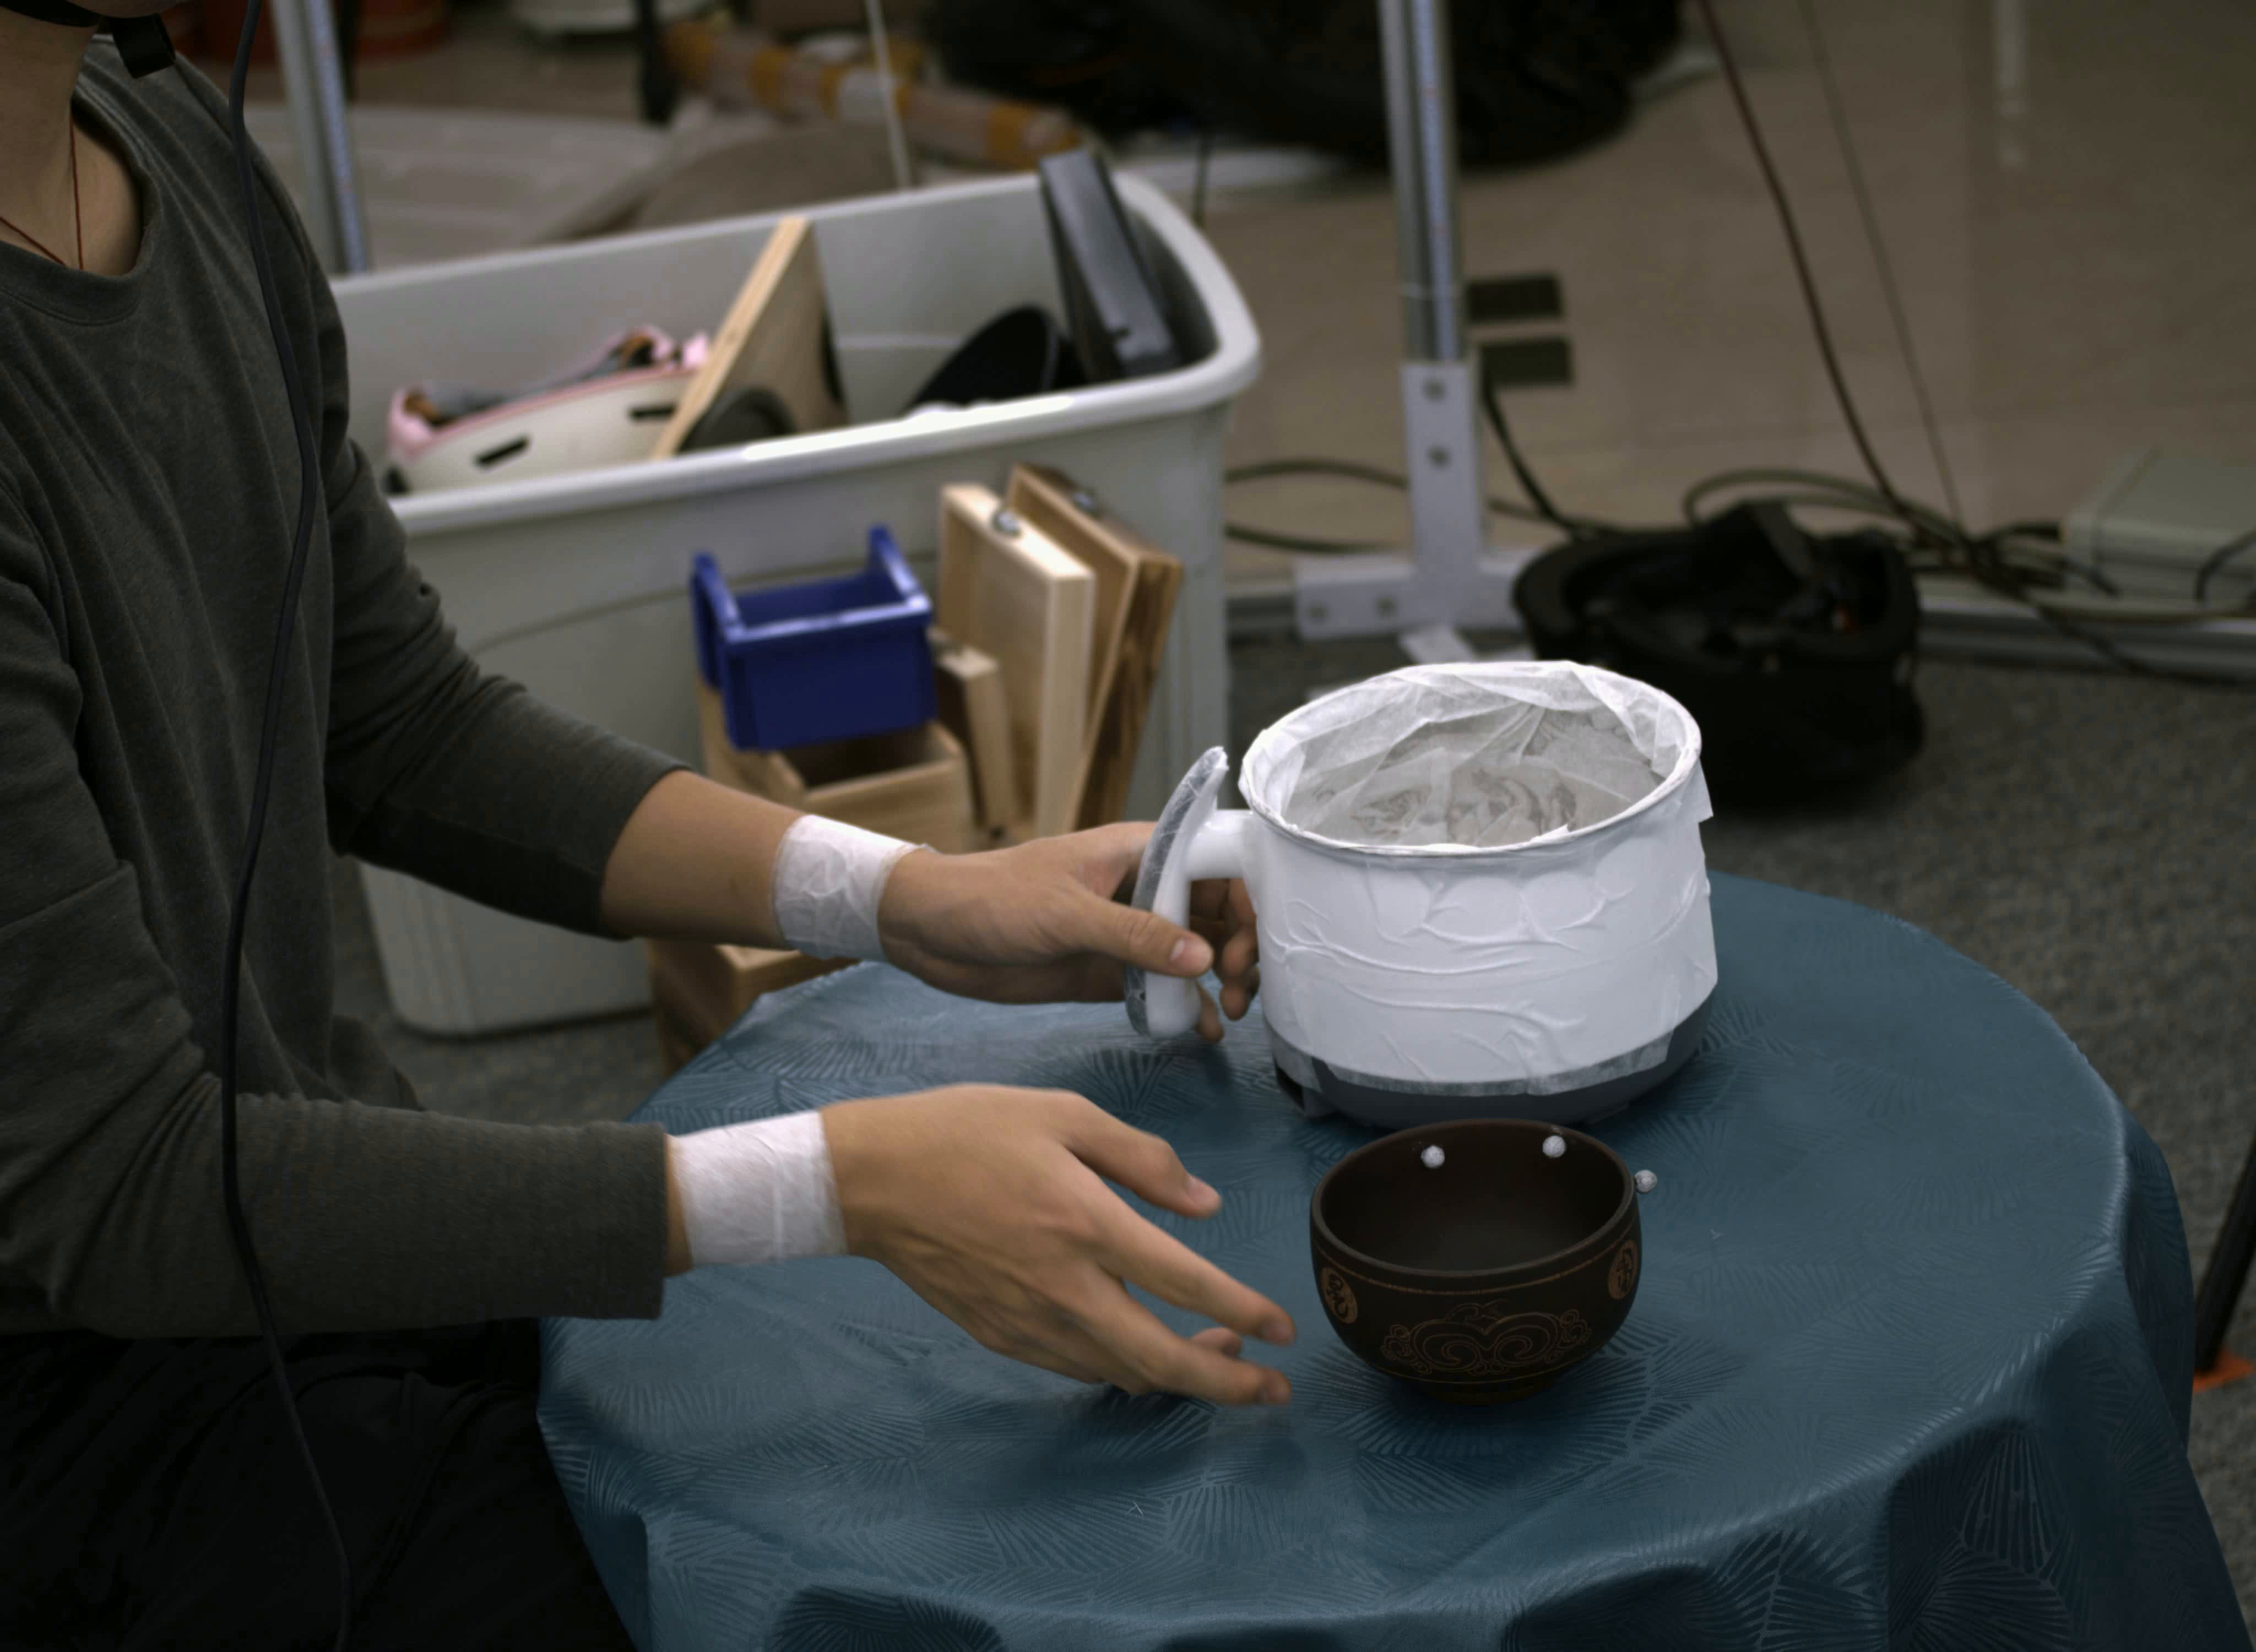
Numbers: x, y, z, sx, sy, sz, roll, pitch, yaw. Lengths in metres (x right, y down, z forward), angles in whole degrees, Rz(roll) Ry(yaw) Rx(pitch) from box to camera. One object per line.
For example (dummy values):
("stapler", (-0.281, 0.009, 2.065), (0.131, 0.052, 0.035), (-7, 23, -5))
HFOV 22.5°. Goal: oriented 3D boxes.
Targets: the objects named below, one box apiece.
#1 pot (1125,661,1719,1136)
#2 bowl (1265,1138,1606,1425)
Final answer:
("pot", (0.110, 0.030, 2.193), (0.233, 0.139, 0.176), (-2, 25, 11))
("bowl", (0.111, 0.166, 1.990), (0.118, 0.071, 0.116), (-12, 23, 5))
